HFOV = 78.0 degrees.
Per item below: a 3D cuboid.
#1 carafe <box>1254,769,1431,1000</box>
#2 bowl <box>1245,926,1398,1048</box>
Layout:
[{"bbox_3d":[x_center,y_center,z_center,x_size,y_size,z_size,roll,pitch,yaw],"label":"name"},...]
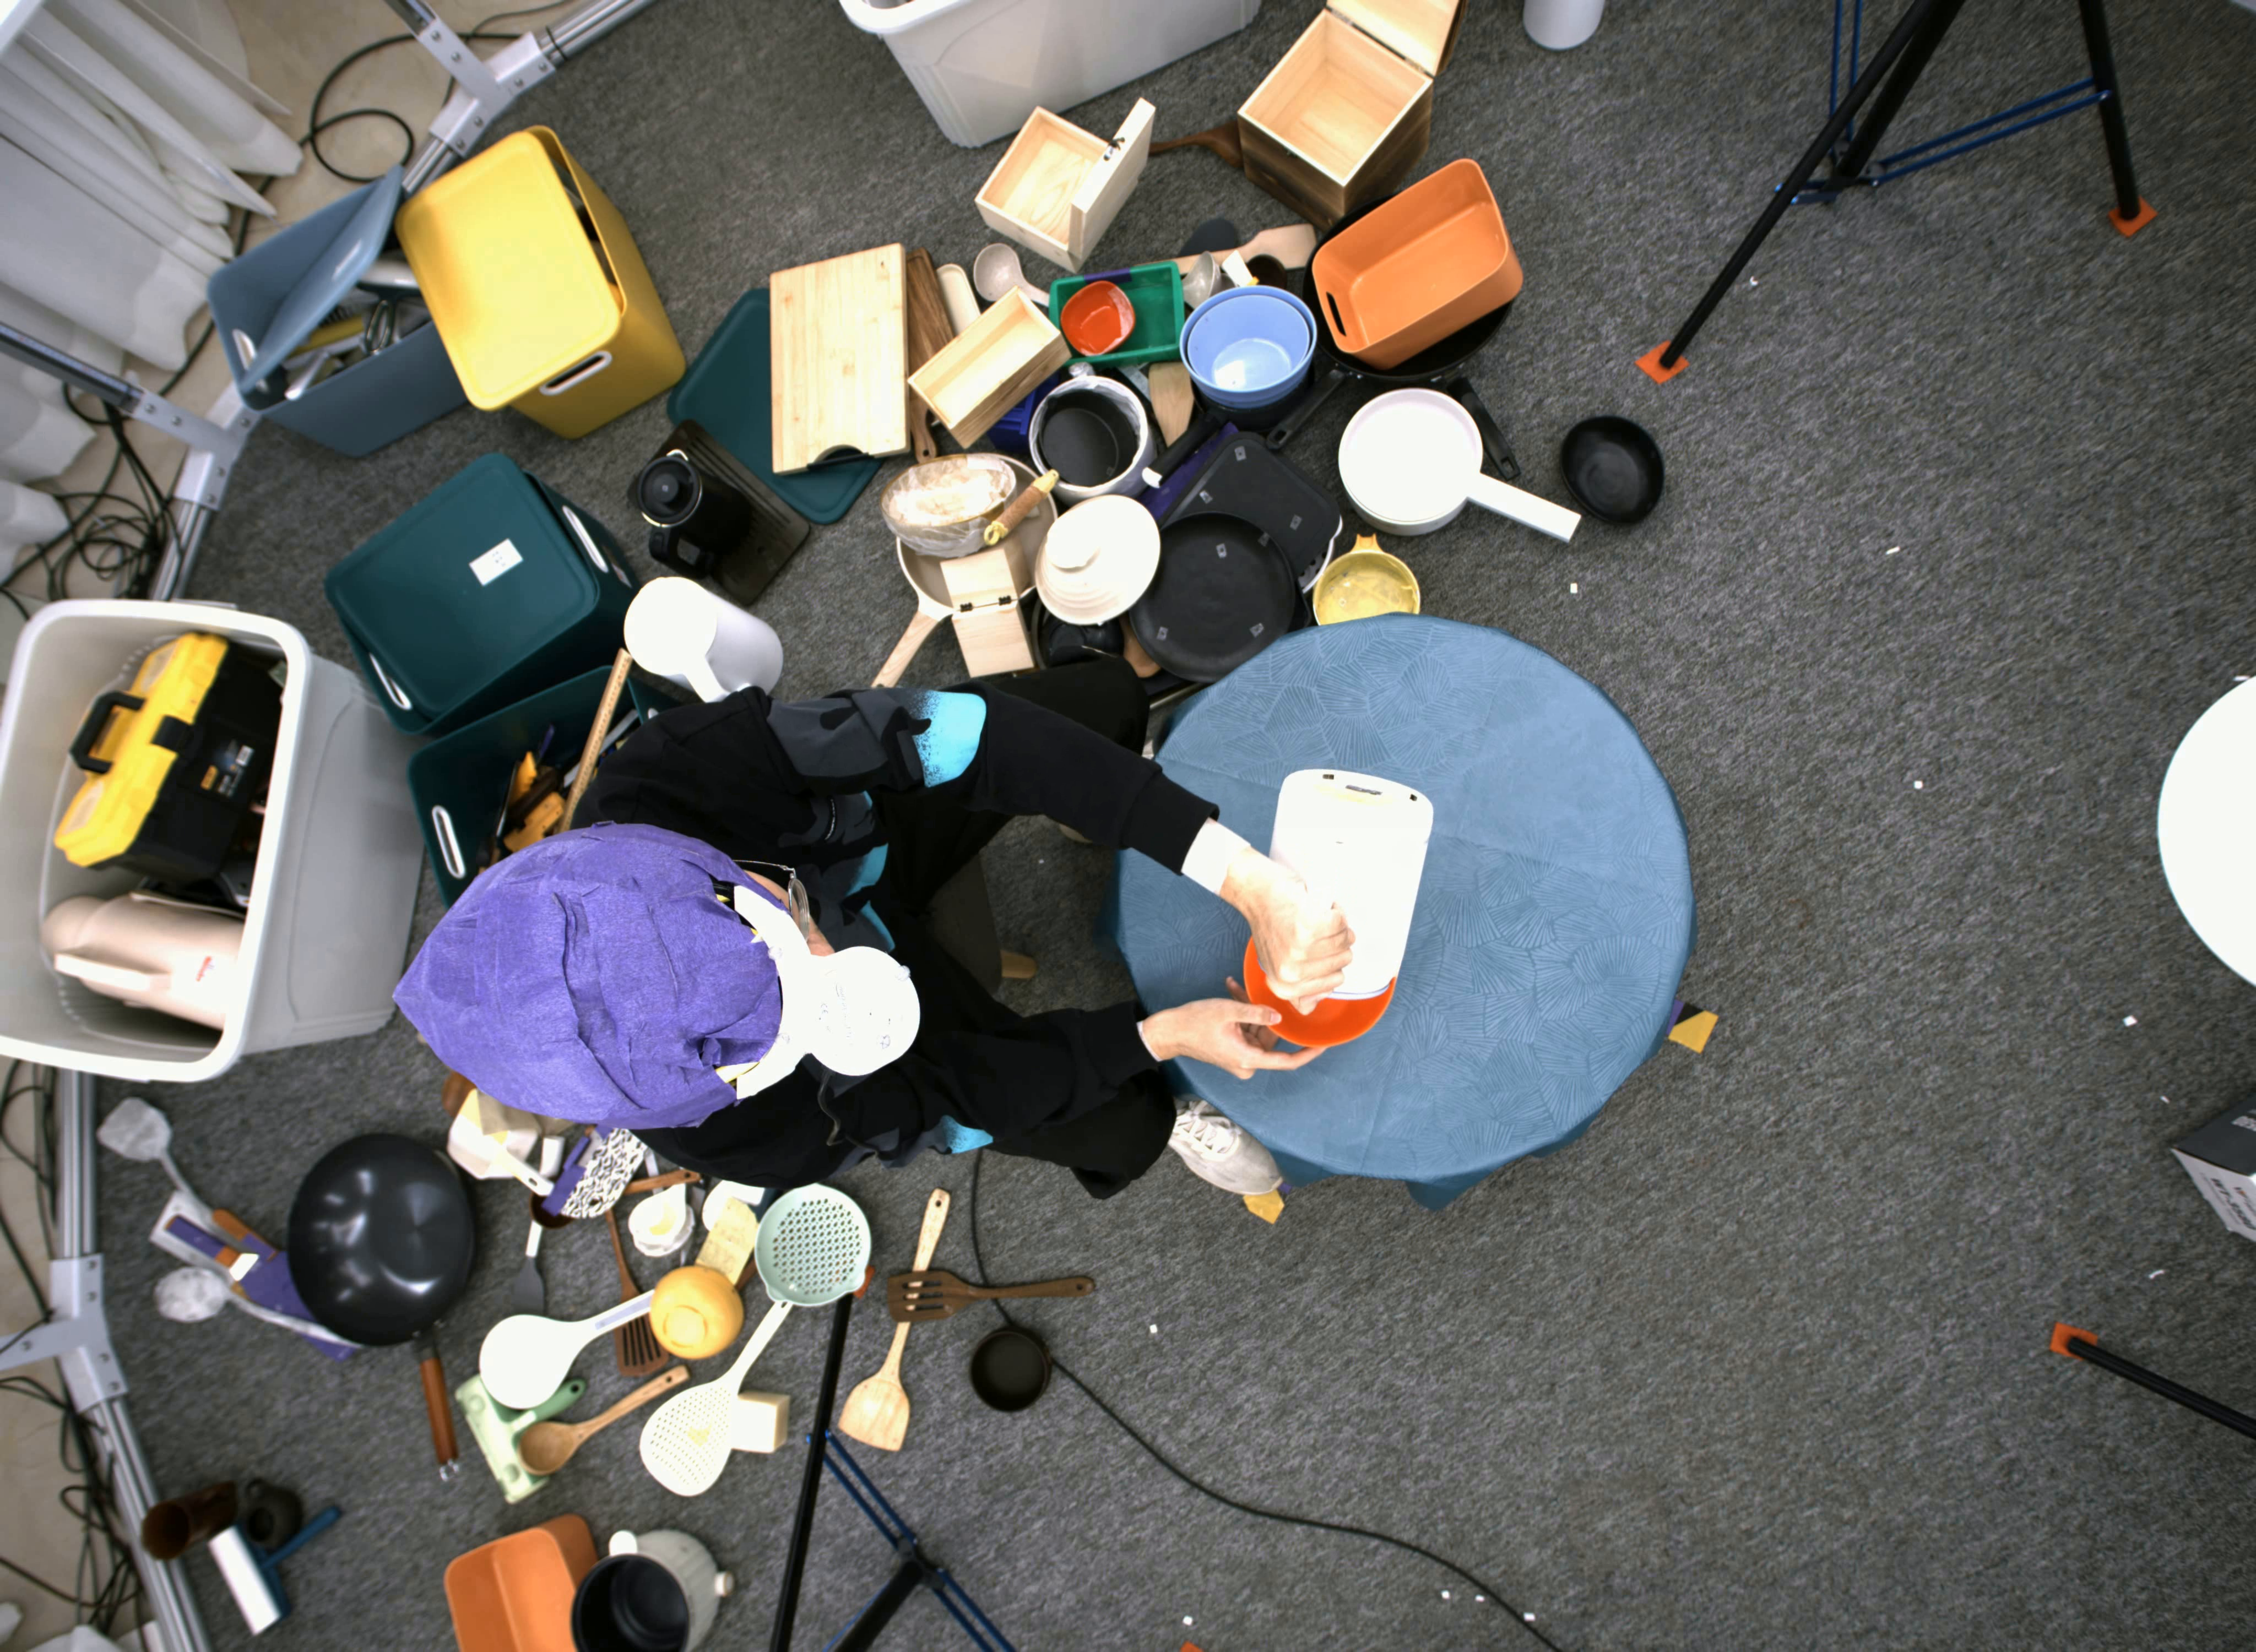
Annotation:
[{"bbox_3d":[0.174,0.052,1.172,0.132,0.188,0.185,14,105,19],"label":"carafe"},{"bbox_3d":[0.192,0.148,1.381,0.148,0.105,0.146,-1,80,7],"label":"bowl"}]
